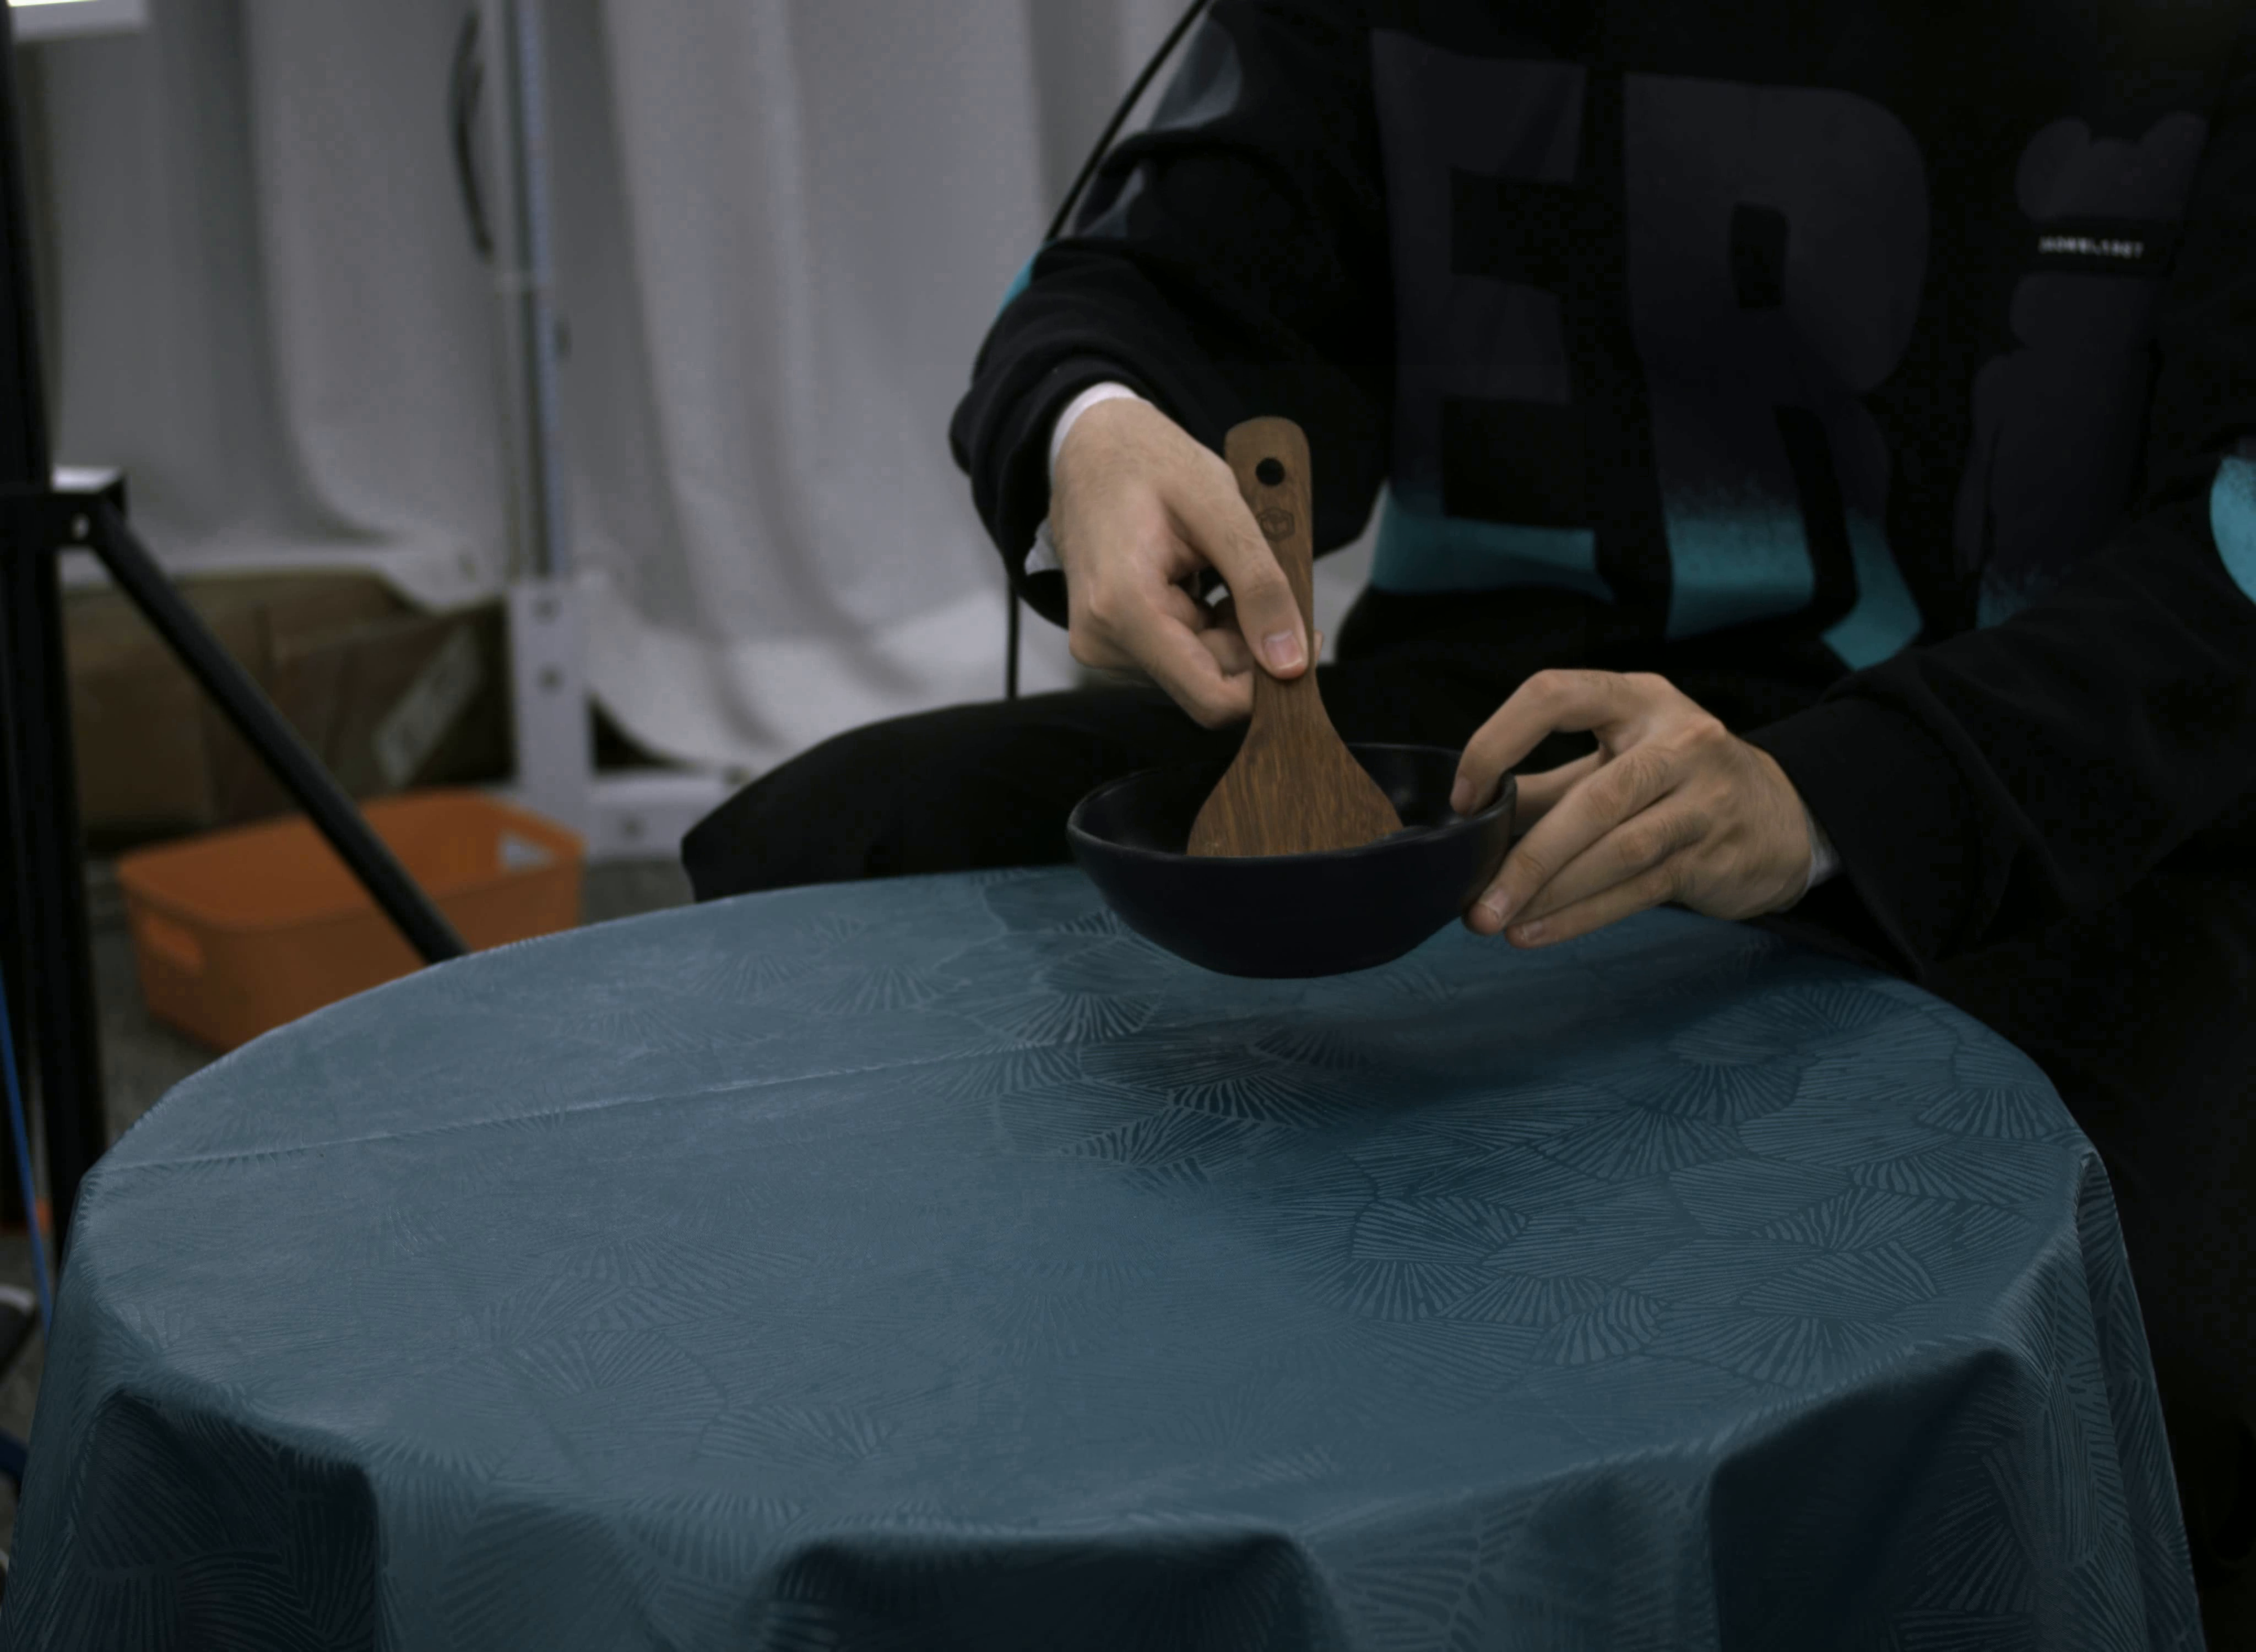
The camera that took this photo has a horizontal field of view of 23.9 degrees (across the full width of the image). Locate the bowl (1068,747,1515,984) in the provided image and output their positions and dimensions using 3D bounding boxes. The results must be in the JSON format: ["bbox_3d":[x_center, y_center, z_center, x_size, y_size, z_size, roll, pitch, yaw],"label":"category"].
[{"bbox_3d":[0.053,0.016,1.640,0.139,0.050,0.140,-8,12,0],"label":"bowl"}]

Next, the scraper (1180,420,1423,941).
[{"bbox_3d":[0.050,-0.045,1.682,0.075,0.011,0.214,-1,54,-2],"label":"scraper"}]
